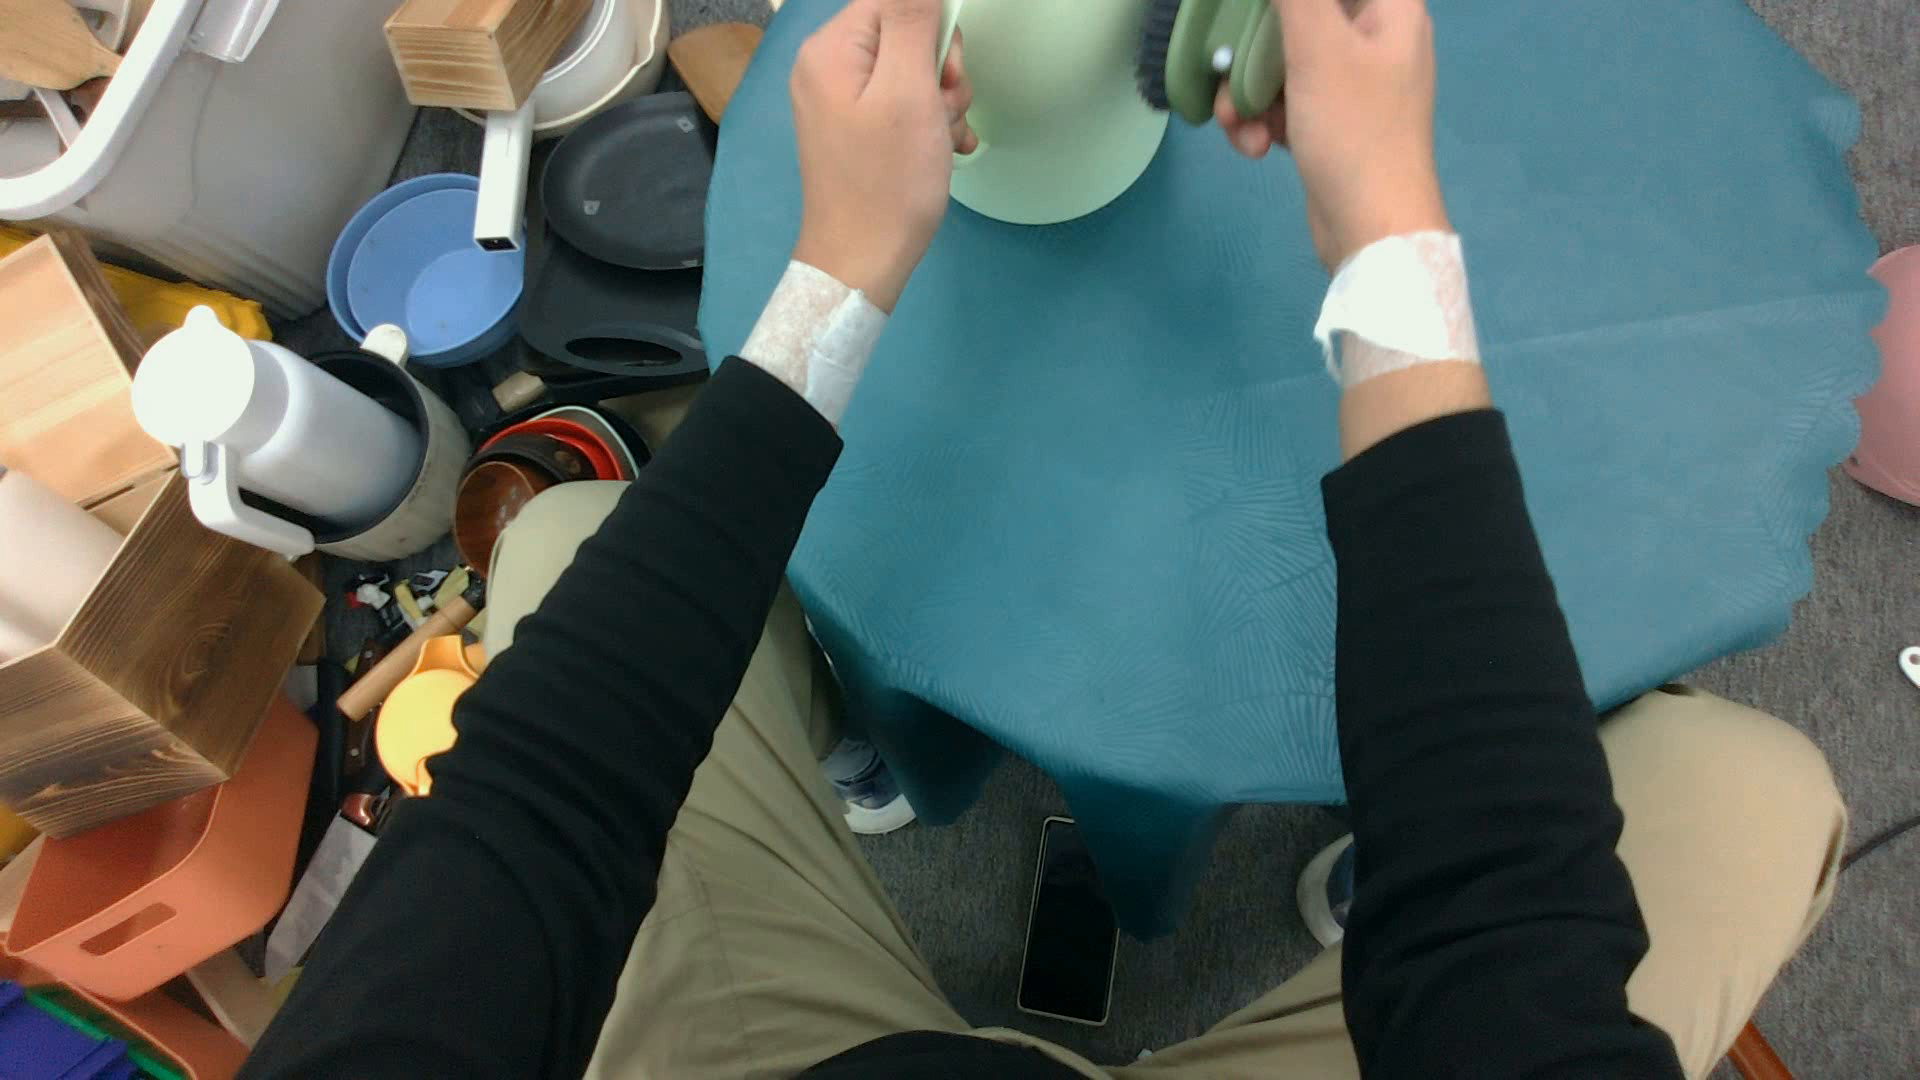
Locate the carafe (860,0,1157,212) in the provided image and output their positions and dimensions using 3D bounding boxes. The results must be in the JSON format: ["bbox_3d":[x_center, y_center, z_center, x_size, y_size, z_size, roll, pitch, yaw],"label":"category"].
[{"bbox_3d":[0.017,-0.257,0.651,0.144,0.256,0.187,27,84,9],"label":"carafe"}]

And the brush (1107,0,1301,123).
[{"bbox_3d":[0.110,-0.239,0.590,0.076,0.059,0.123,35,97,28],"label":"brush"}]
